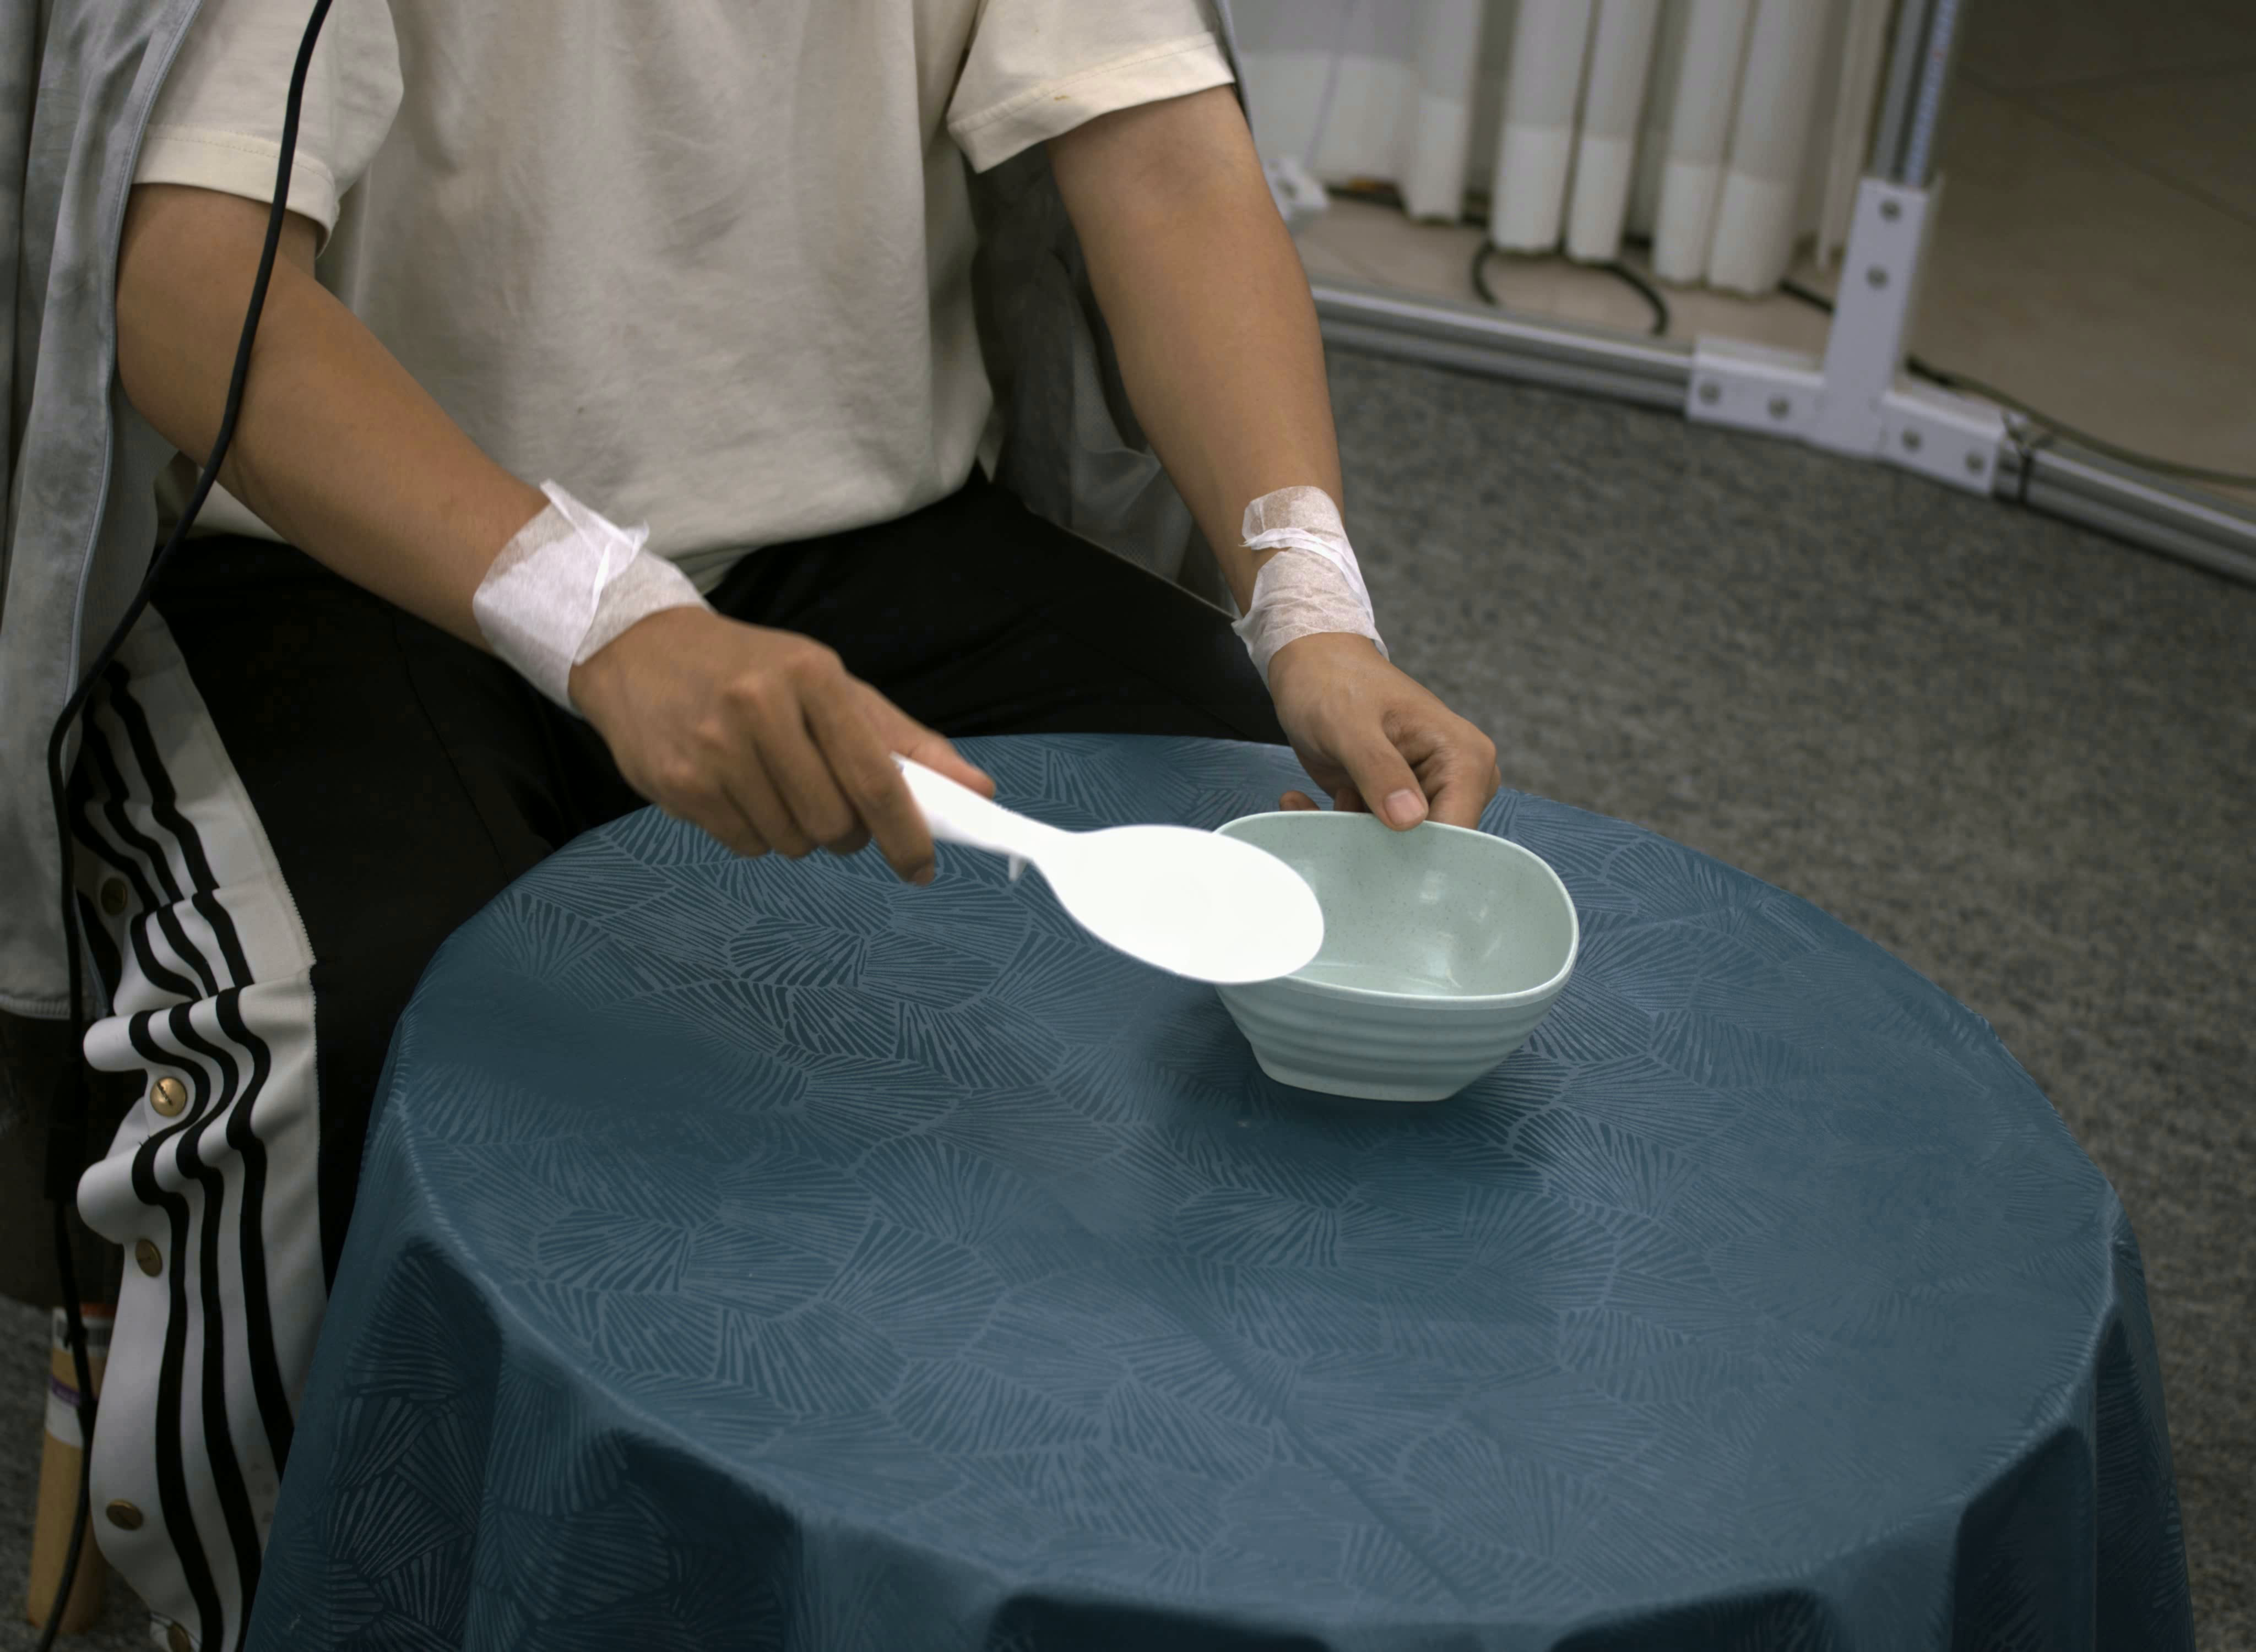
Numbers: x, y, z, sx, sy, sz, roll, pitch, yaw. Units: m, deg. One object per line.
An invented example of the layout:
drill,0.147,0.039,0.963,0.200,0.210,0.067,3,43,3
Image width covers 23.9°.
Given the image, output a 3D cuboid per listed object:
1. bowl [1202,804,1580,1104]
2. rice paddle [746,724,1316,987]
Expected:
bowl,0.089,0.052,1.903,0.151,0.058,0.152,5,29,-3
rice paddle,-0.032,0.009,1.802,0.206,0.029,0.069,19,45,17
